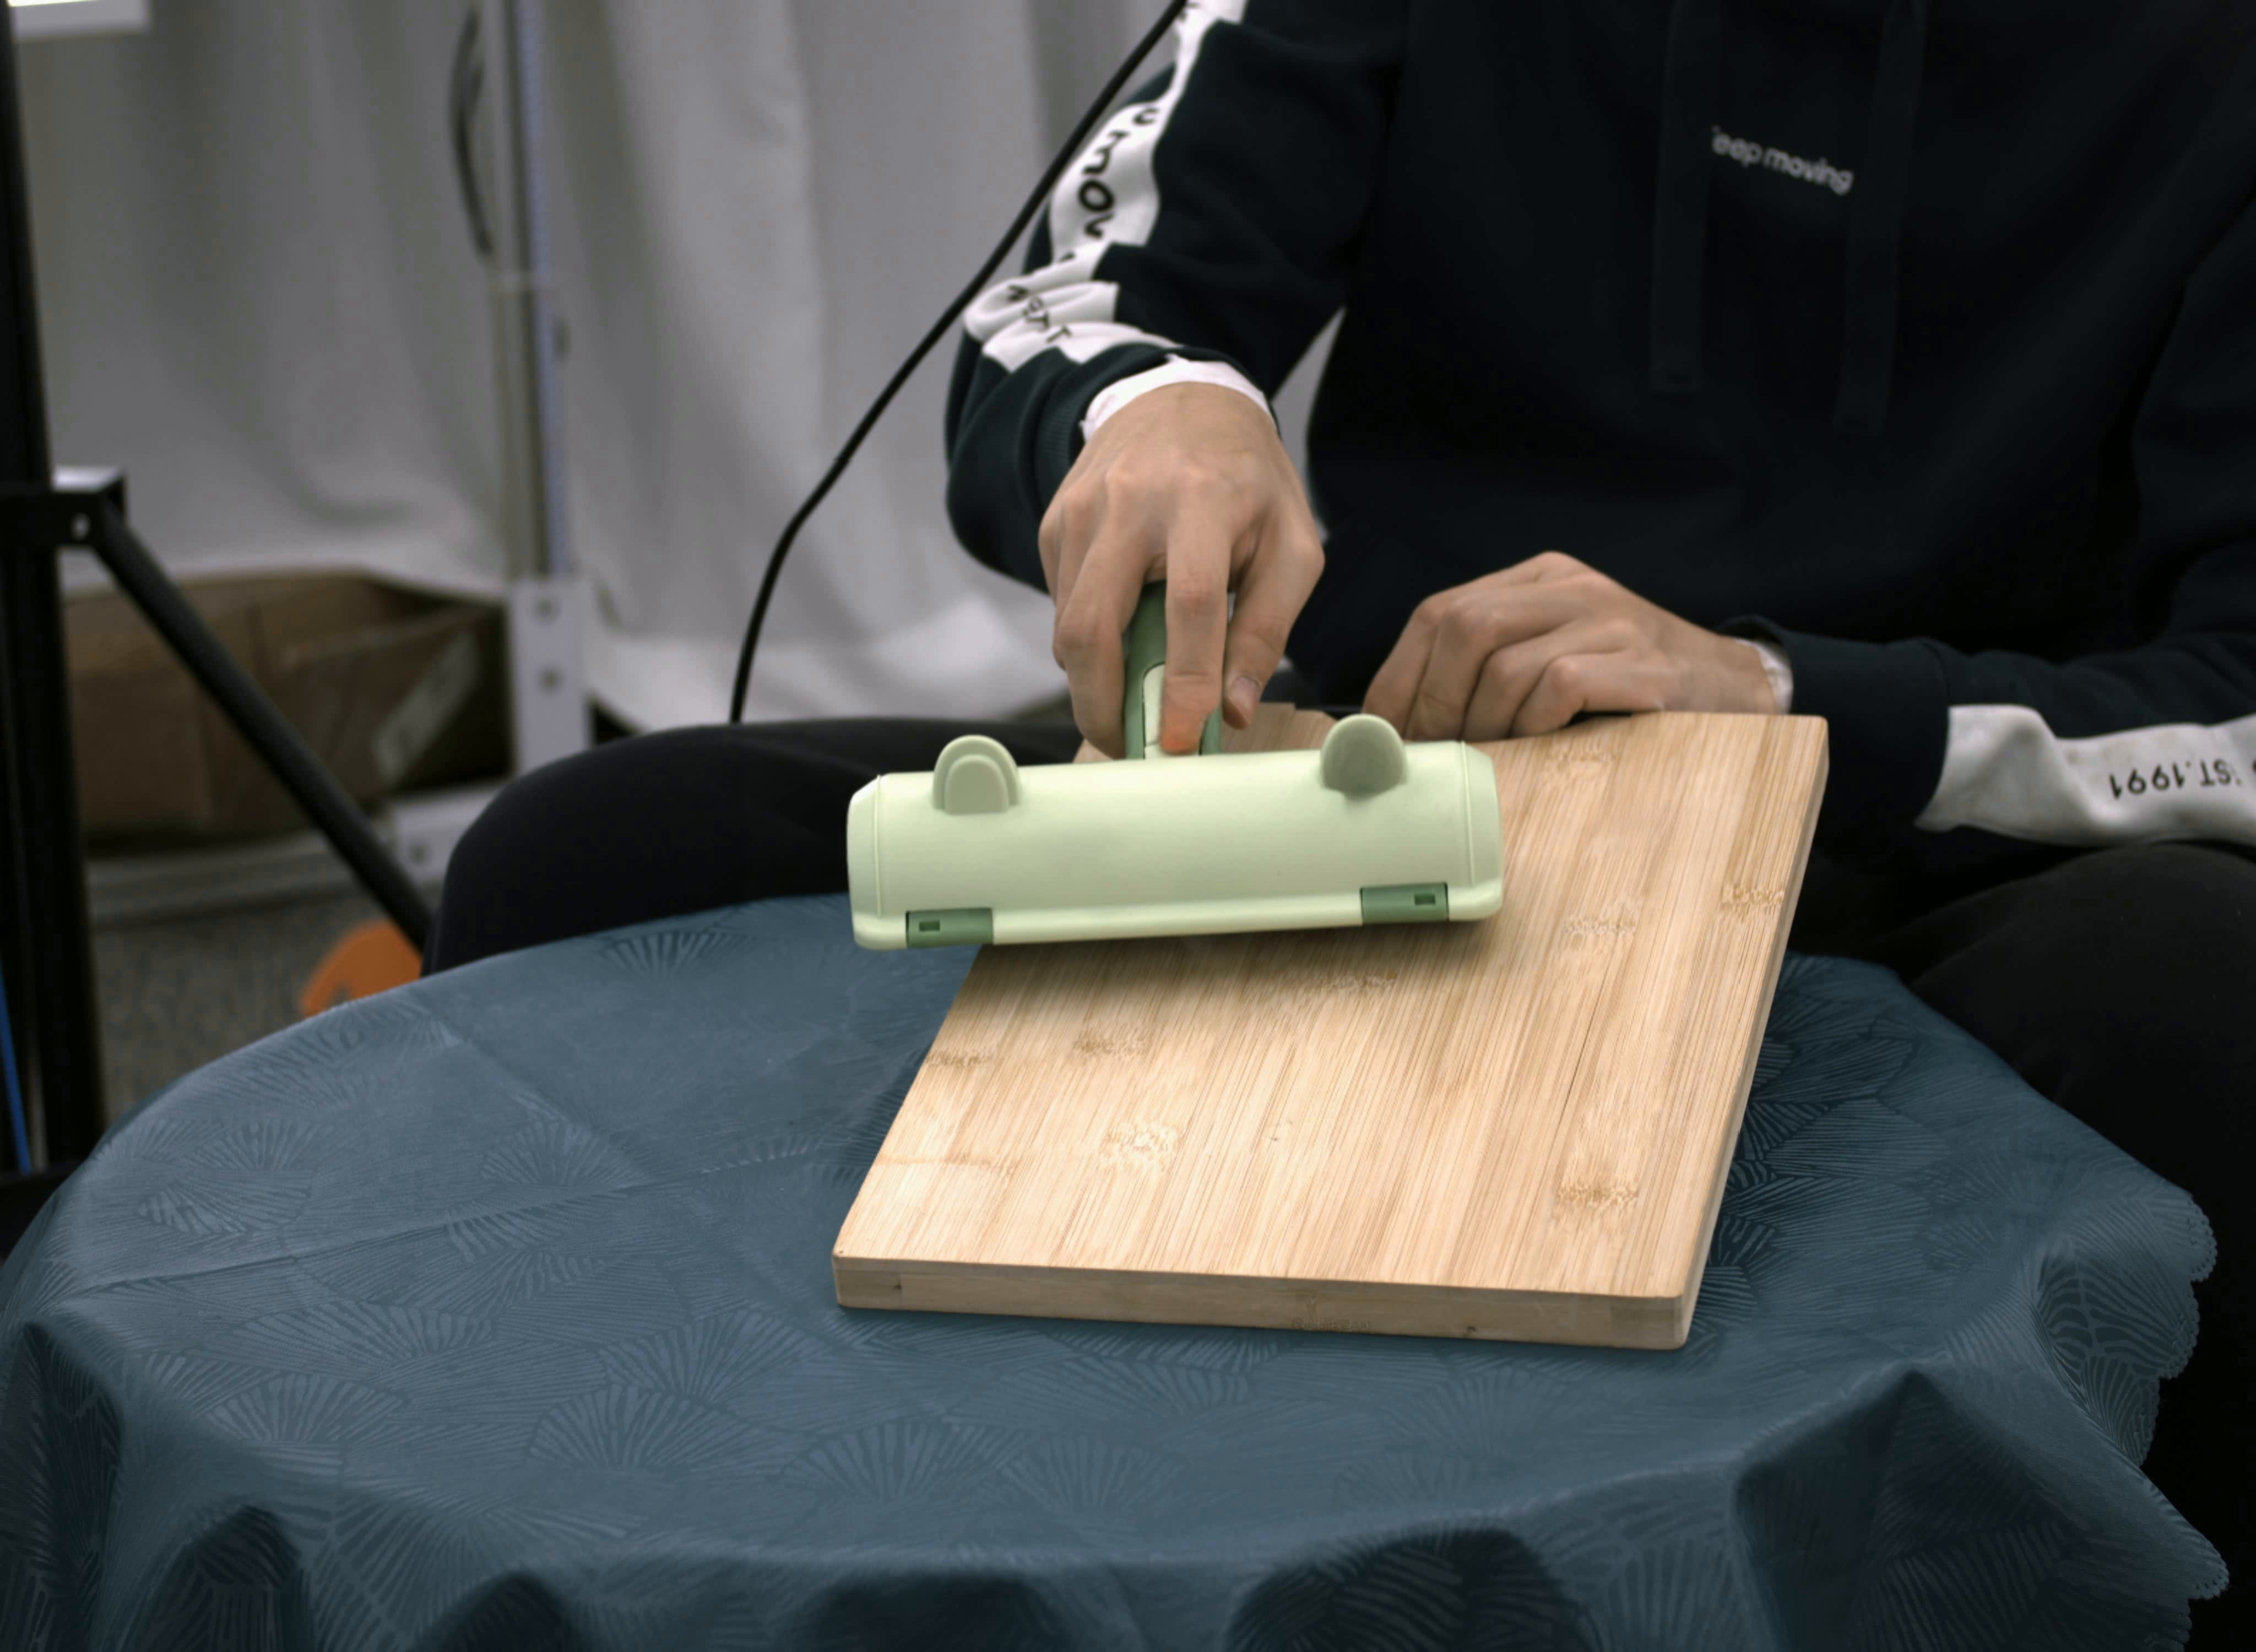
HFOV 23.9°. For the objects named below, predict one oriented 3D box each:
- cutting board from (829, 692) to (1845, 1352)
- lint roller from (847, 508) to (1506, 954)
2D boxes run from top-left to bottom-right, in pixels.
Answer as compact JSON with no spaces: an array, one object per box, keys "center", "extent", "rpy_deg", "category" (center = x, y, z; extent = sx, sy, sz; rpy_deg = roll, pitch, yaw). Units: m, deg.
[{"center":[0.073,0.049,1.590],"extent":[0.252,0.023,0.348],"rpy_deg":[1,29,14],"category":"cutting board"},{"center":[0.013,-0.043,1.629],"extent":[0.198,0.081,0.185],"rpy_deg":[-4,54,5],"category":"lint roller"}]
